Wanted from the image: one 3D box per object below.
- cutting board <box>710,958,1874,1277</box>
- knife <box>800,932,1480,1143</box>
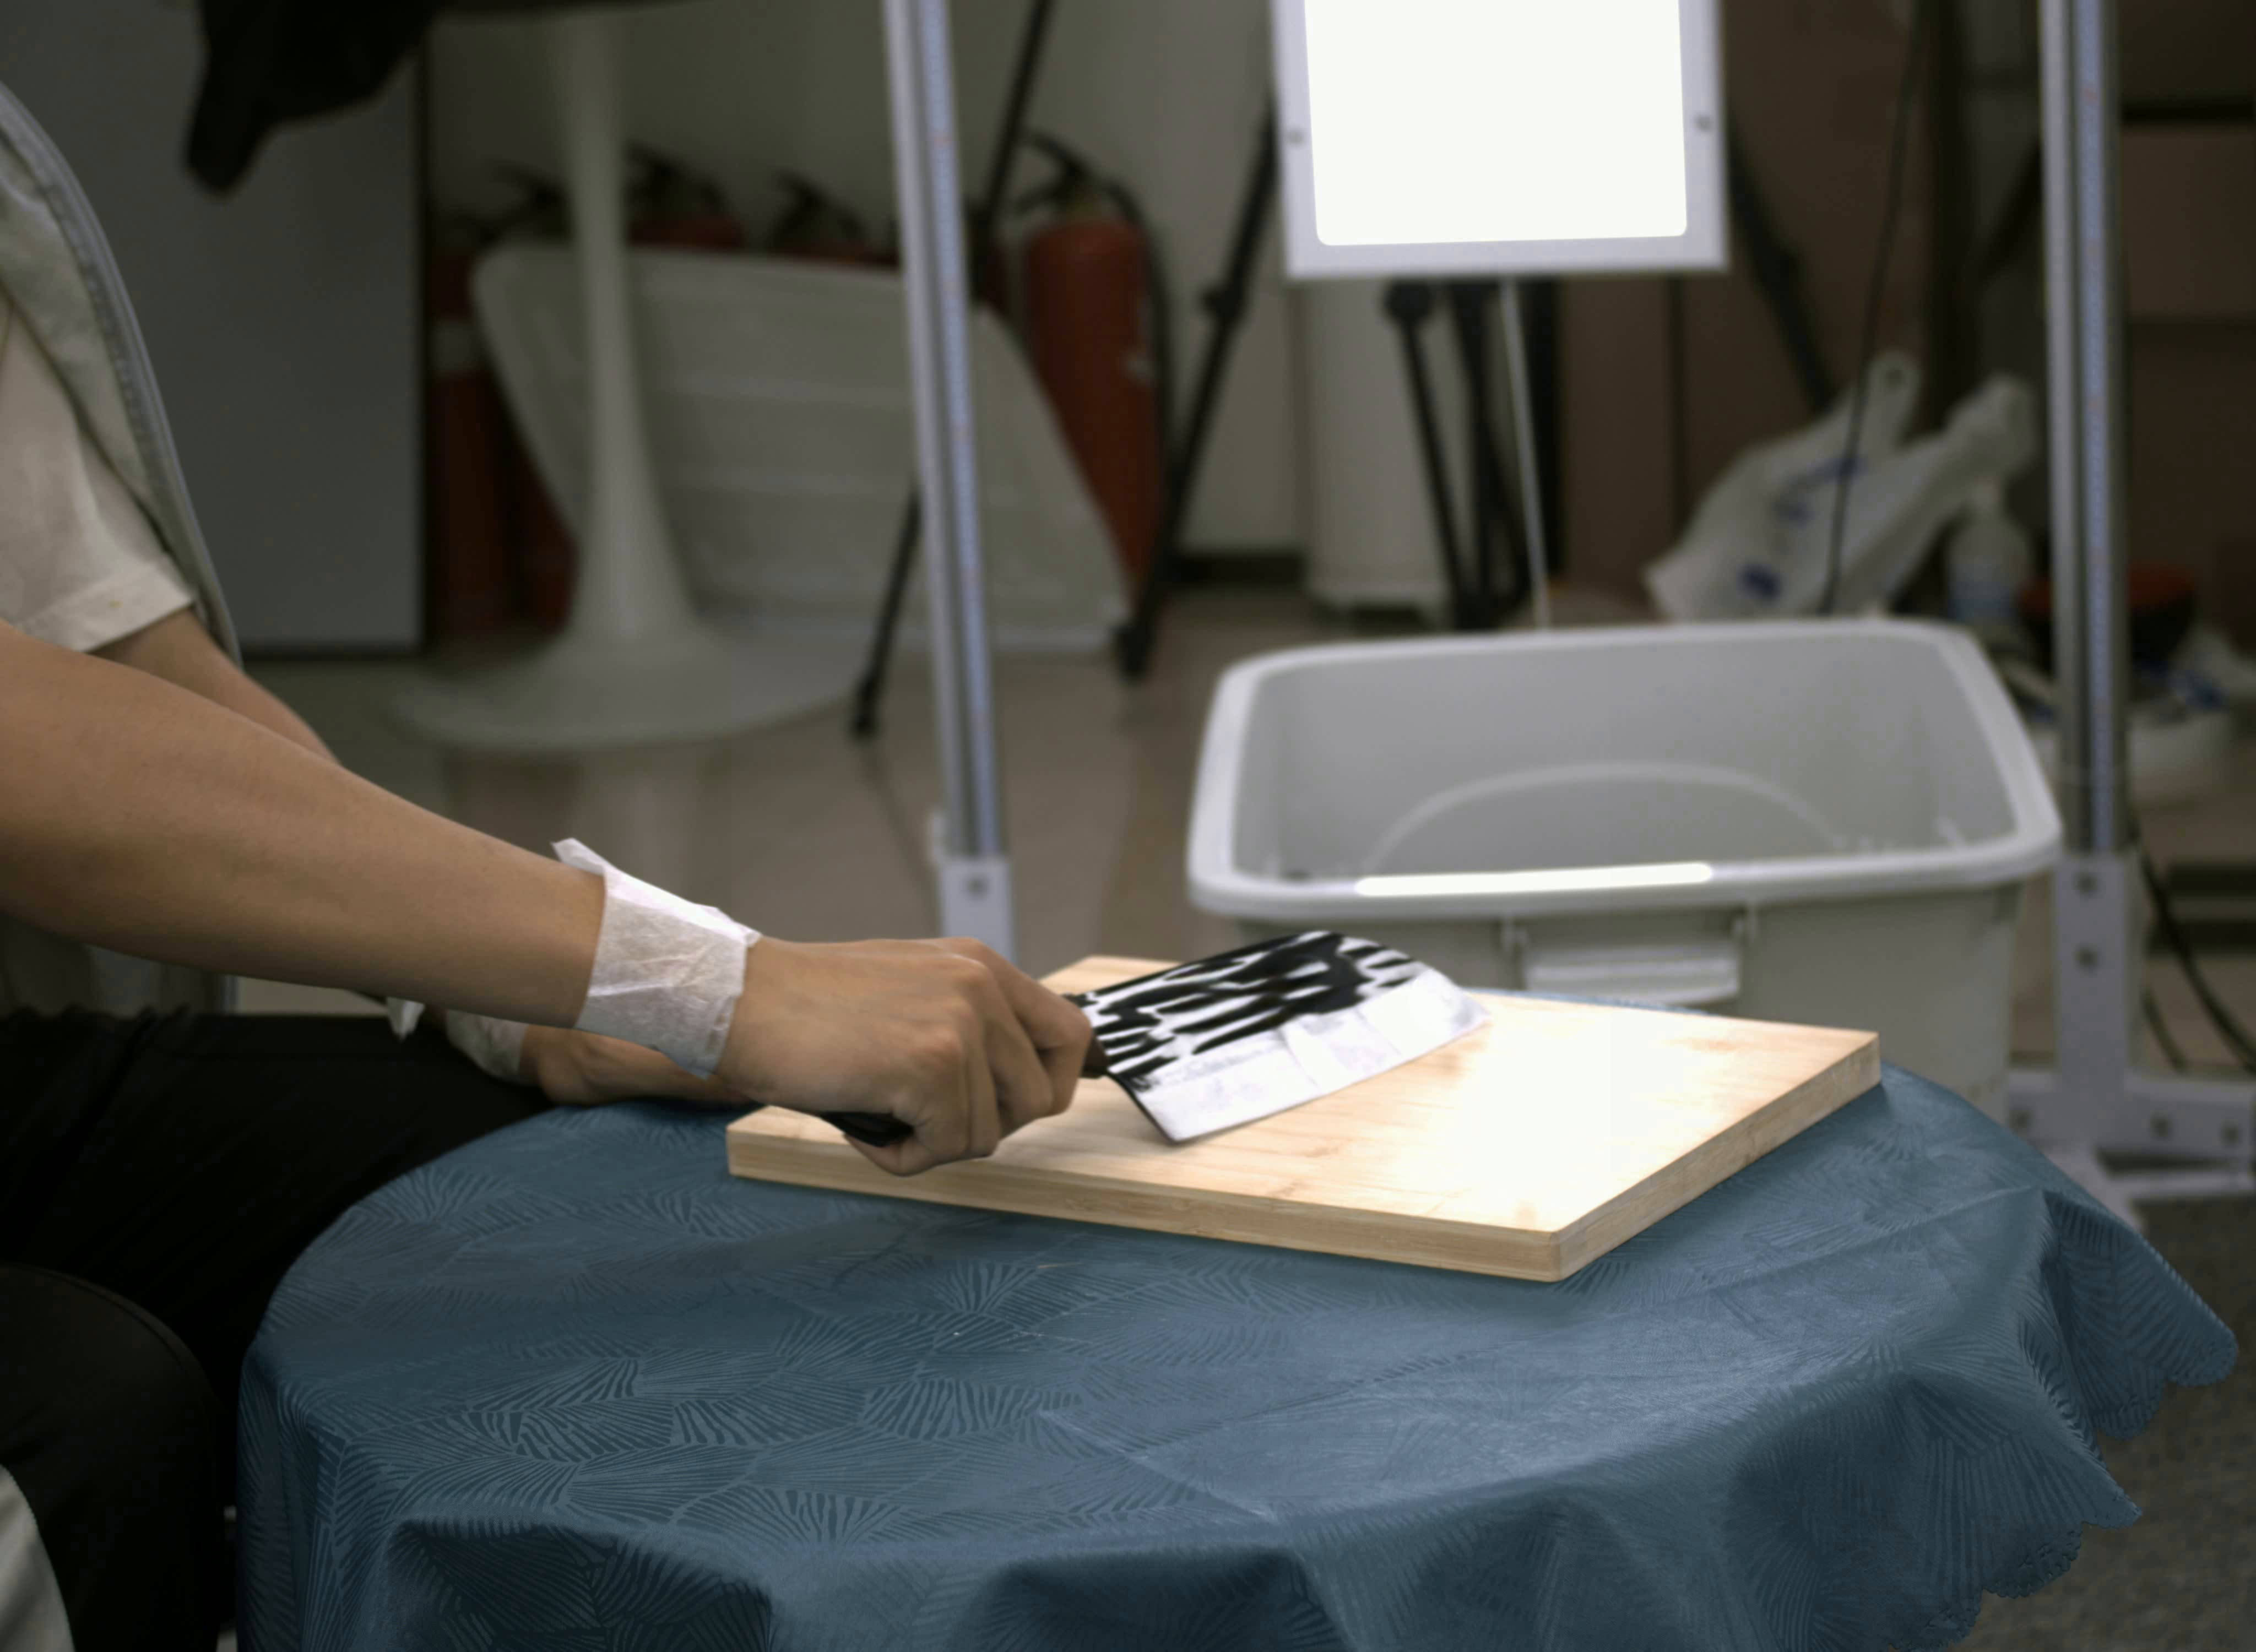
[{"bbox_3d":[0.059,0.099,1.955,0.356,0.023,0.245,4,16,34],"label":"cutting board"},{"bbox_3d":[0.011,0.079,1.908,0.292,0.024,0.069,-14,56,-42],"label":"knife"}]
